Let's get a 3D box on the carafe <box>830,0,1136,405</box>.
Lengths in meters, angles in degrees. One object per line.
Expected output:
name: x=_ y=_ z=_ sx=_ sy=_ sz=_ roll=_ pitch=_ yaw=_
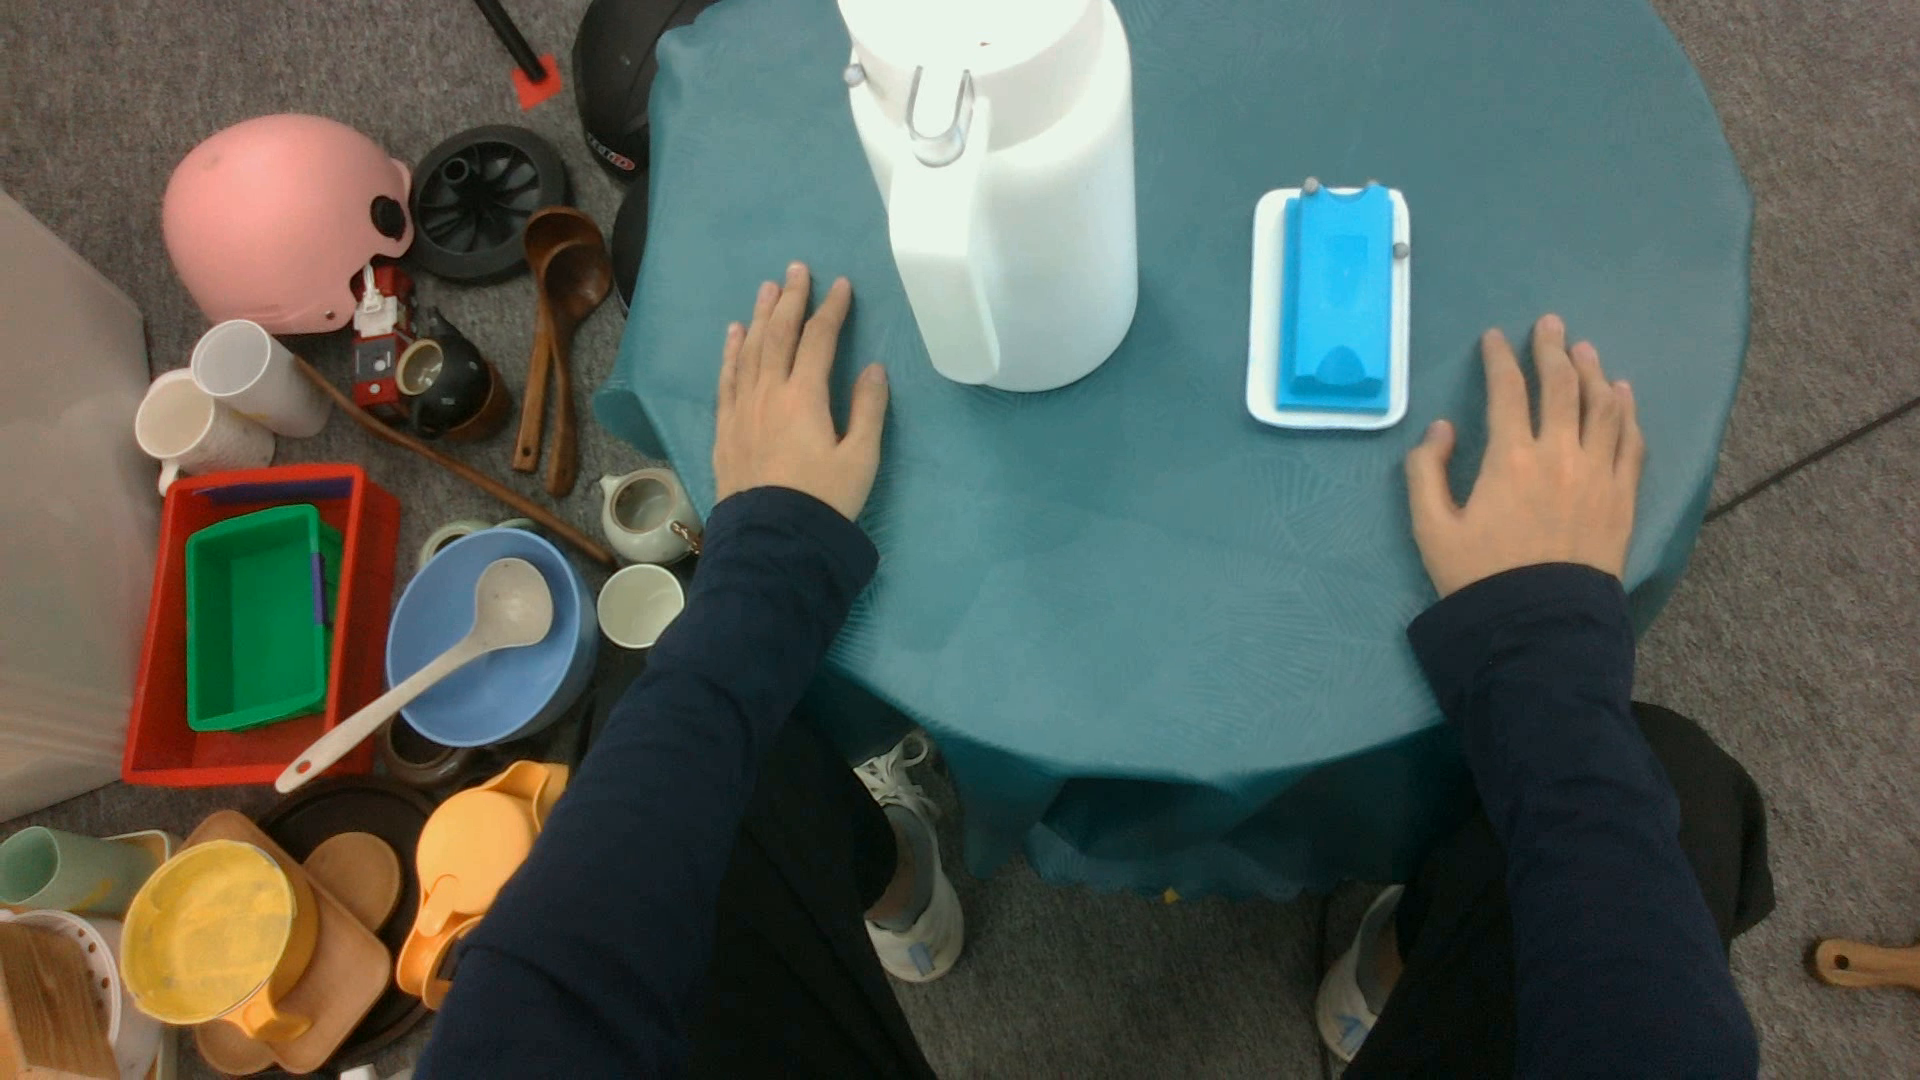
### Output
carafe: x=0.019 y=-0.150 z=0.643 sx=0.124 sy=0.268 sz=0.173 roll=7 pitch=73 yaw=9

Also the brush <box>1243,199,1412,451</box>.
brush: x=0.193 y=-0.118 z=0.714 sx=0.084 sy=0.056 sz=0.144 roll=4 pitch=69 yaw=12
